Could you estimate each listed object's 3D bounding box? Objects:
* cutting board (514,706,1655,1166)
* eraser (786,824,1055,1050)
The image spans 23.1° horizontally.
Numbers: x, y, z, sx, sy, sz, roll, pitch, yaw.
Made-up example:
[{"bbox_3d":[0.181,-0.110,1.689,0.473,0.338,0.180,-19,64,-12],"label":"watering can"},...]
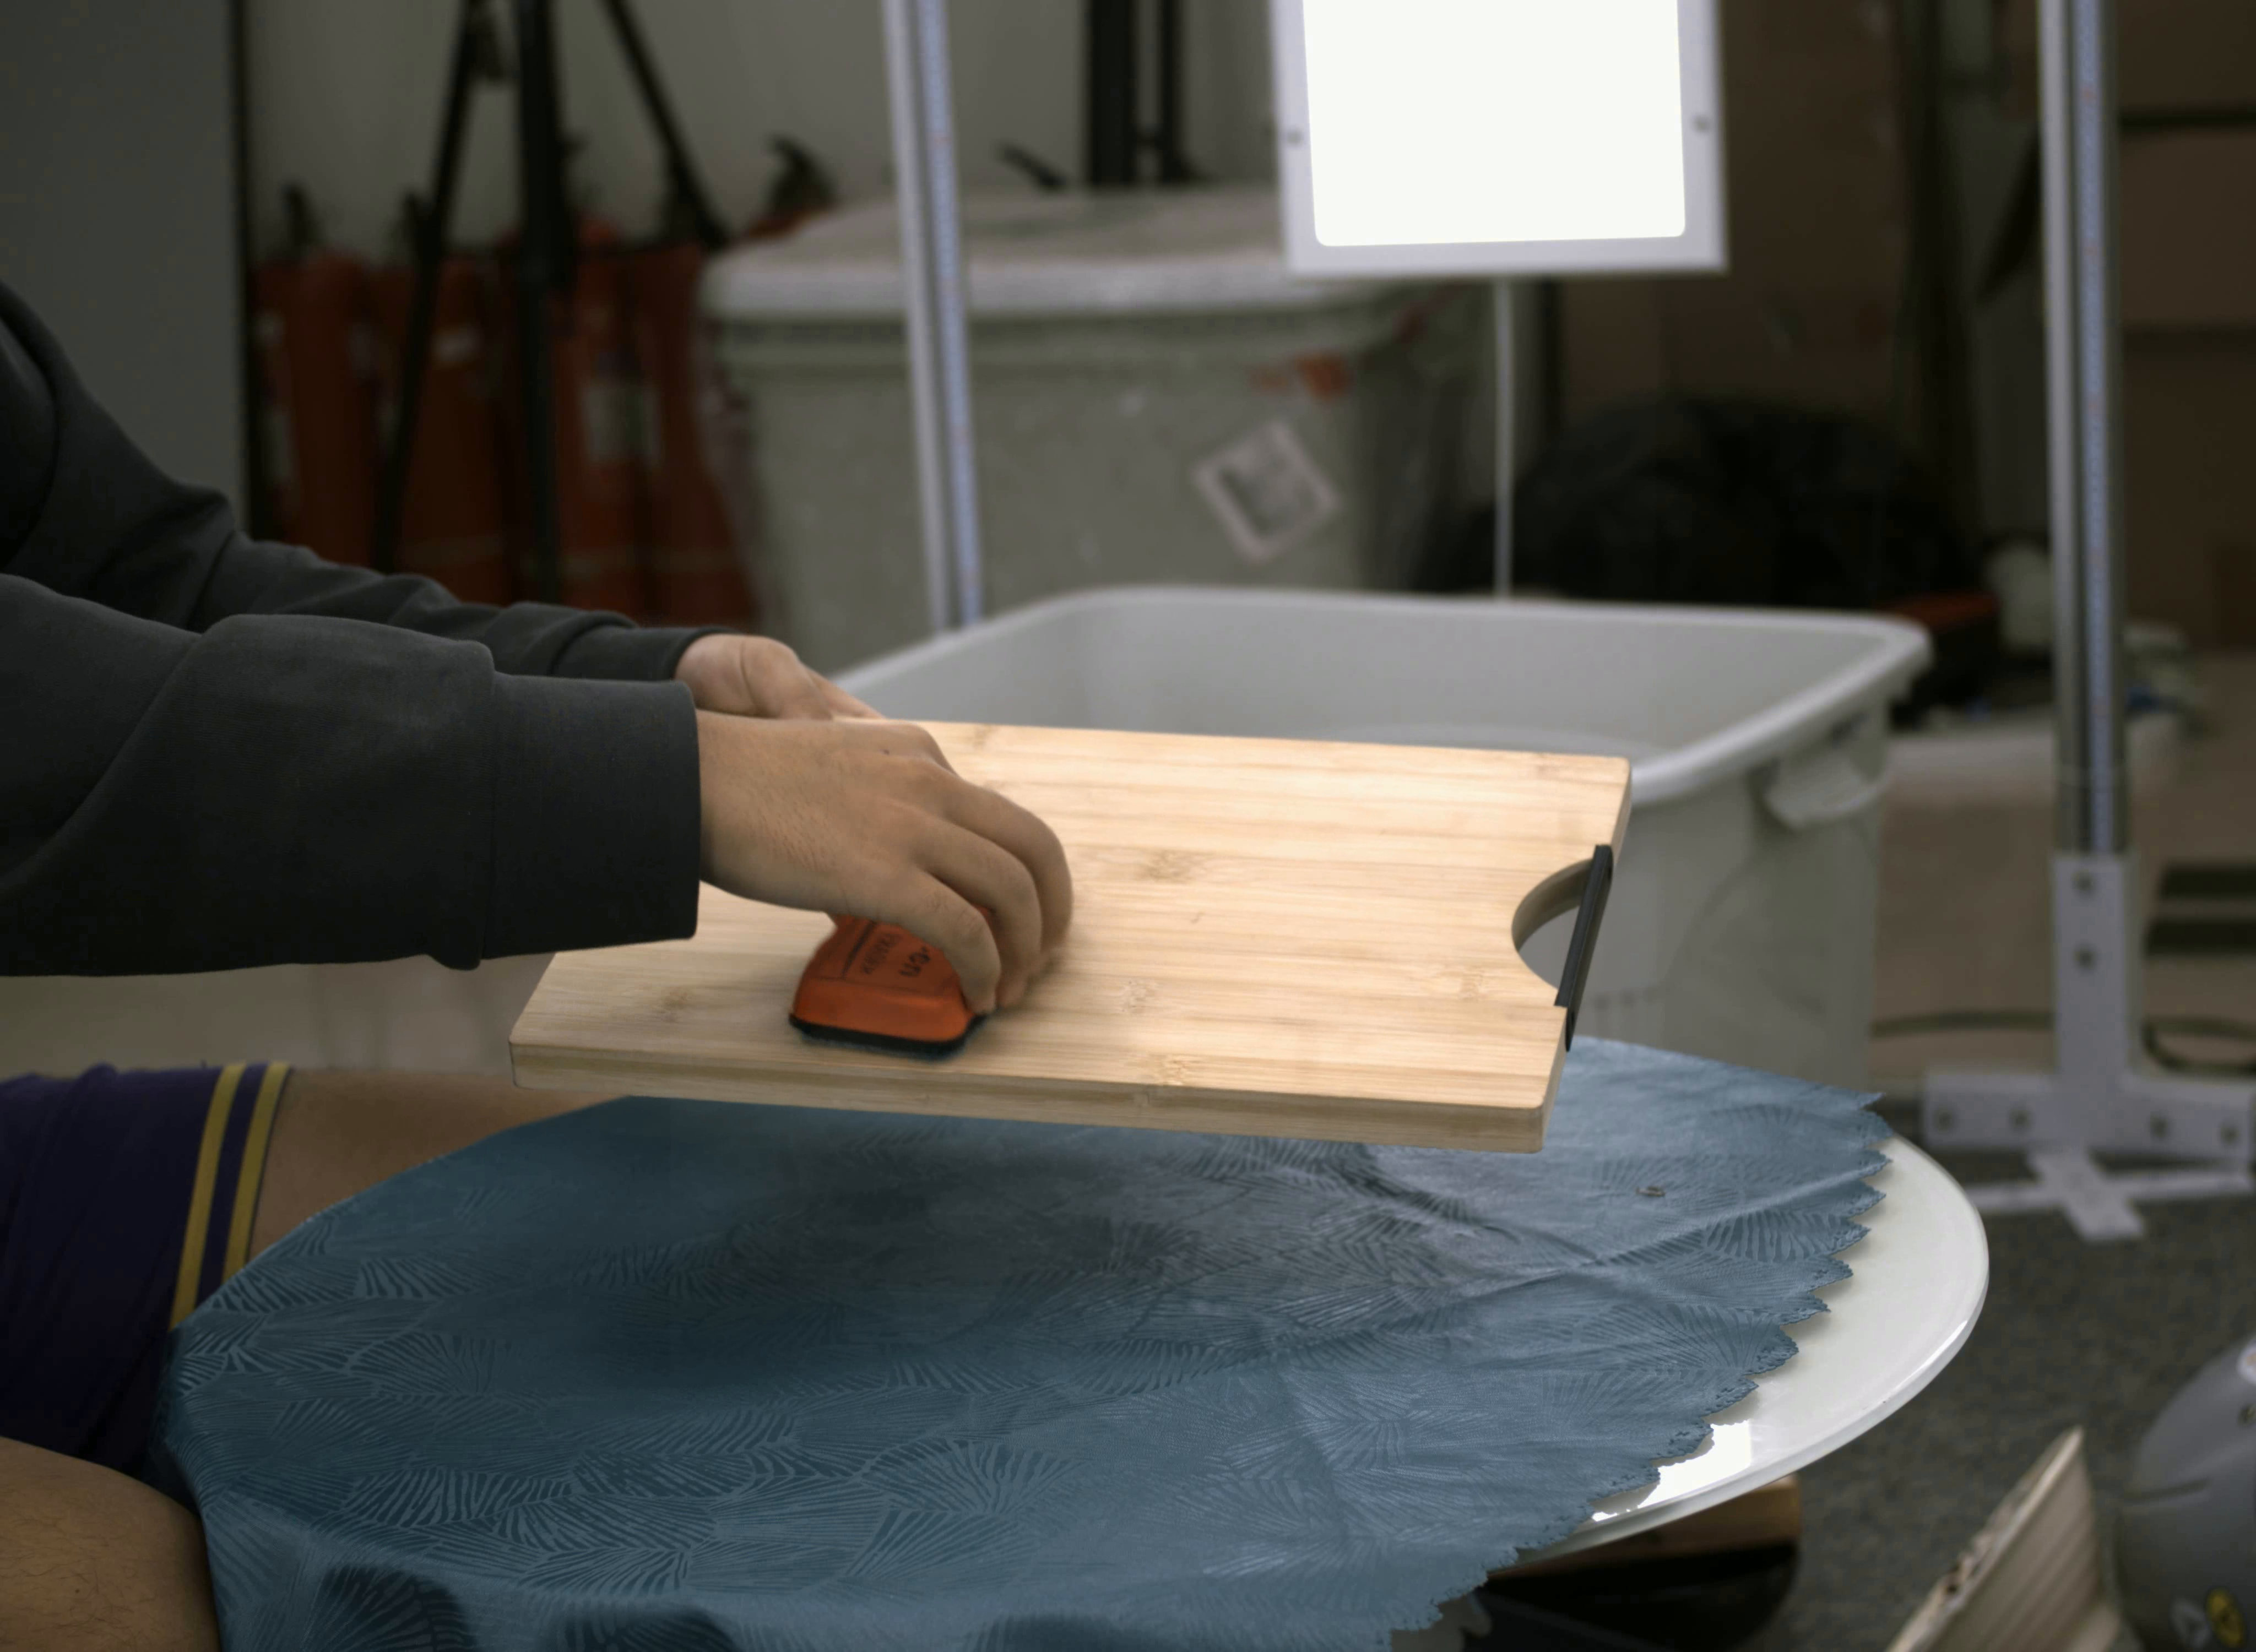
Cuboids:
[{"bbox_3d":[-0.007,0.031,1.853,0.351,0.024,0.248,2,29,13],"label":"cutting board"},{"bbox_3d":[-0.067,0.036,1.809,0.060,0.023,0.106,8,30,20],"label":"eraser"}]
